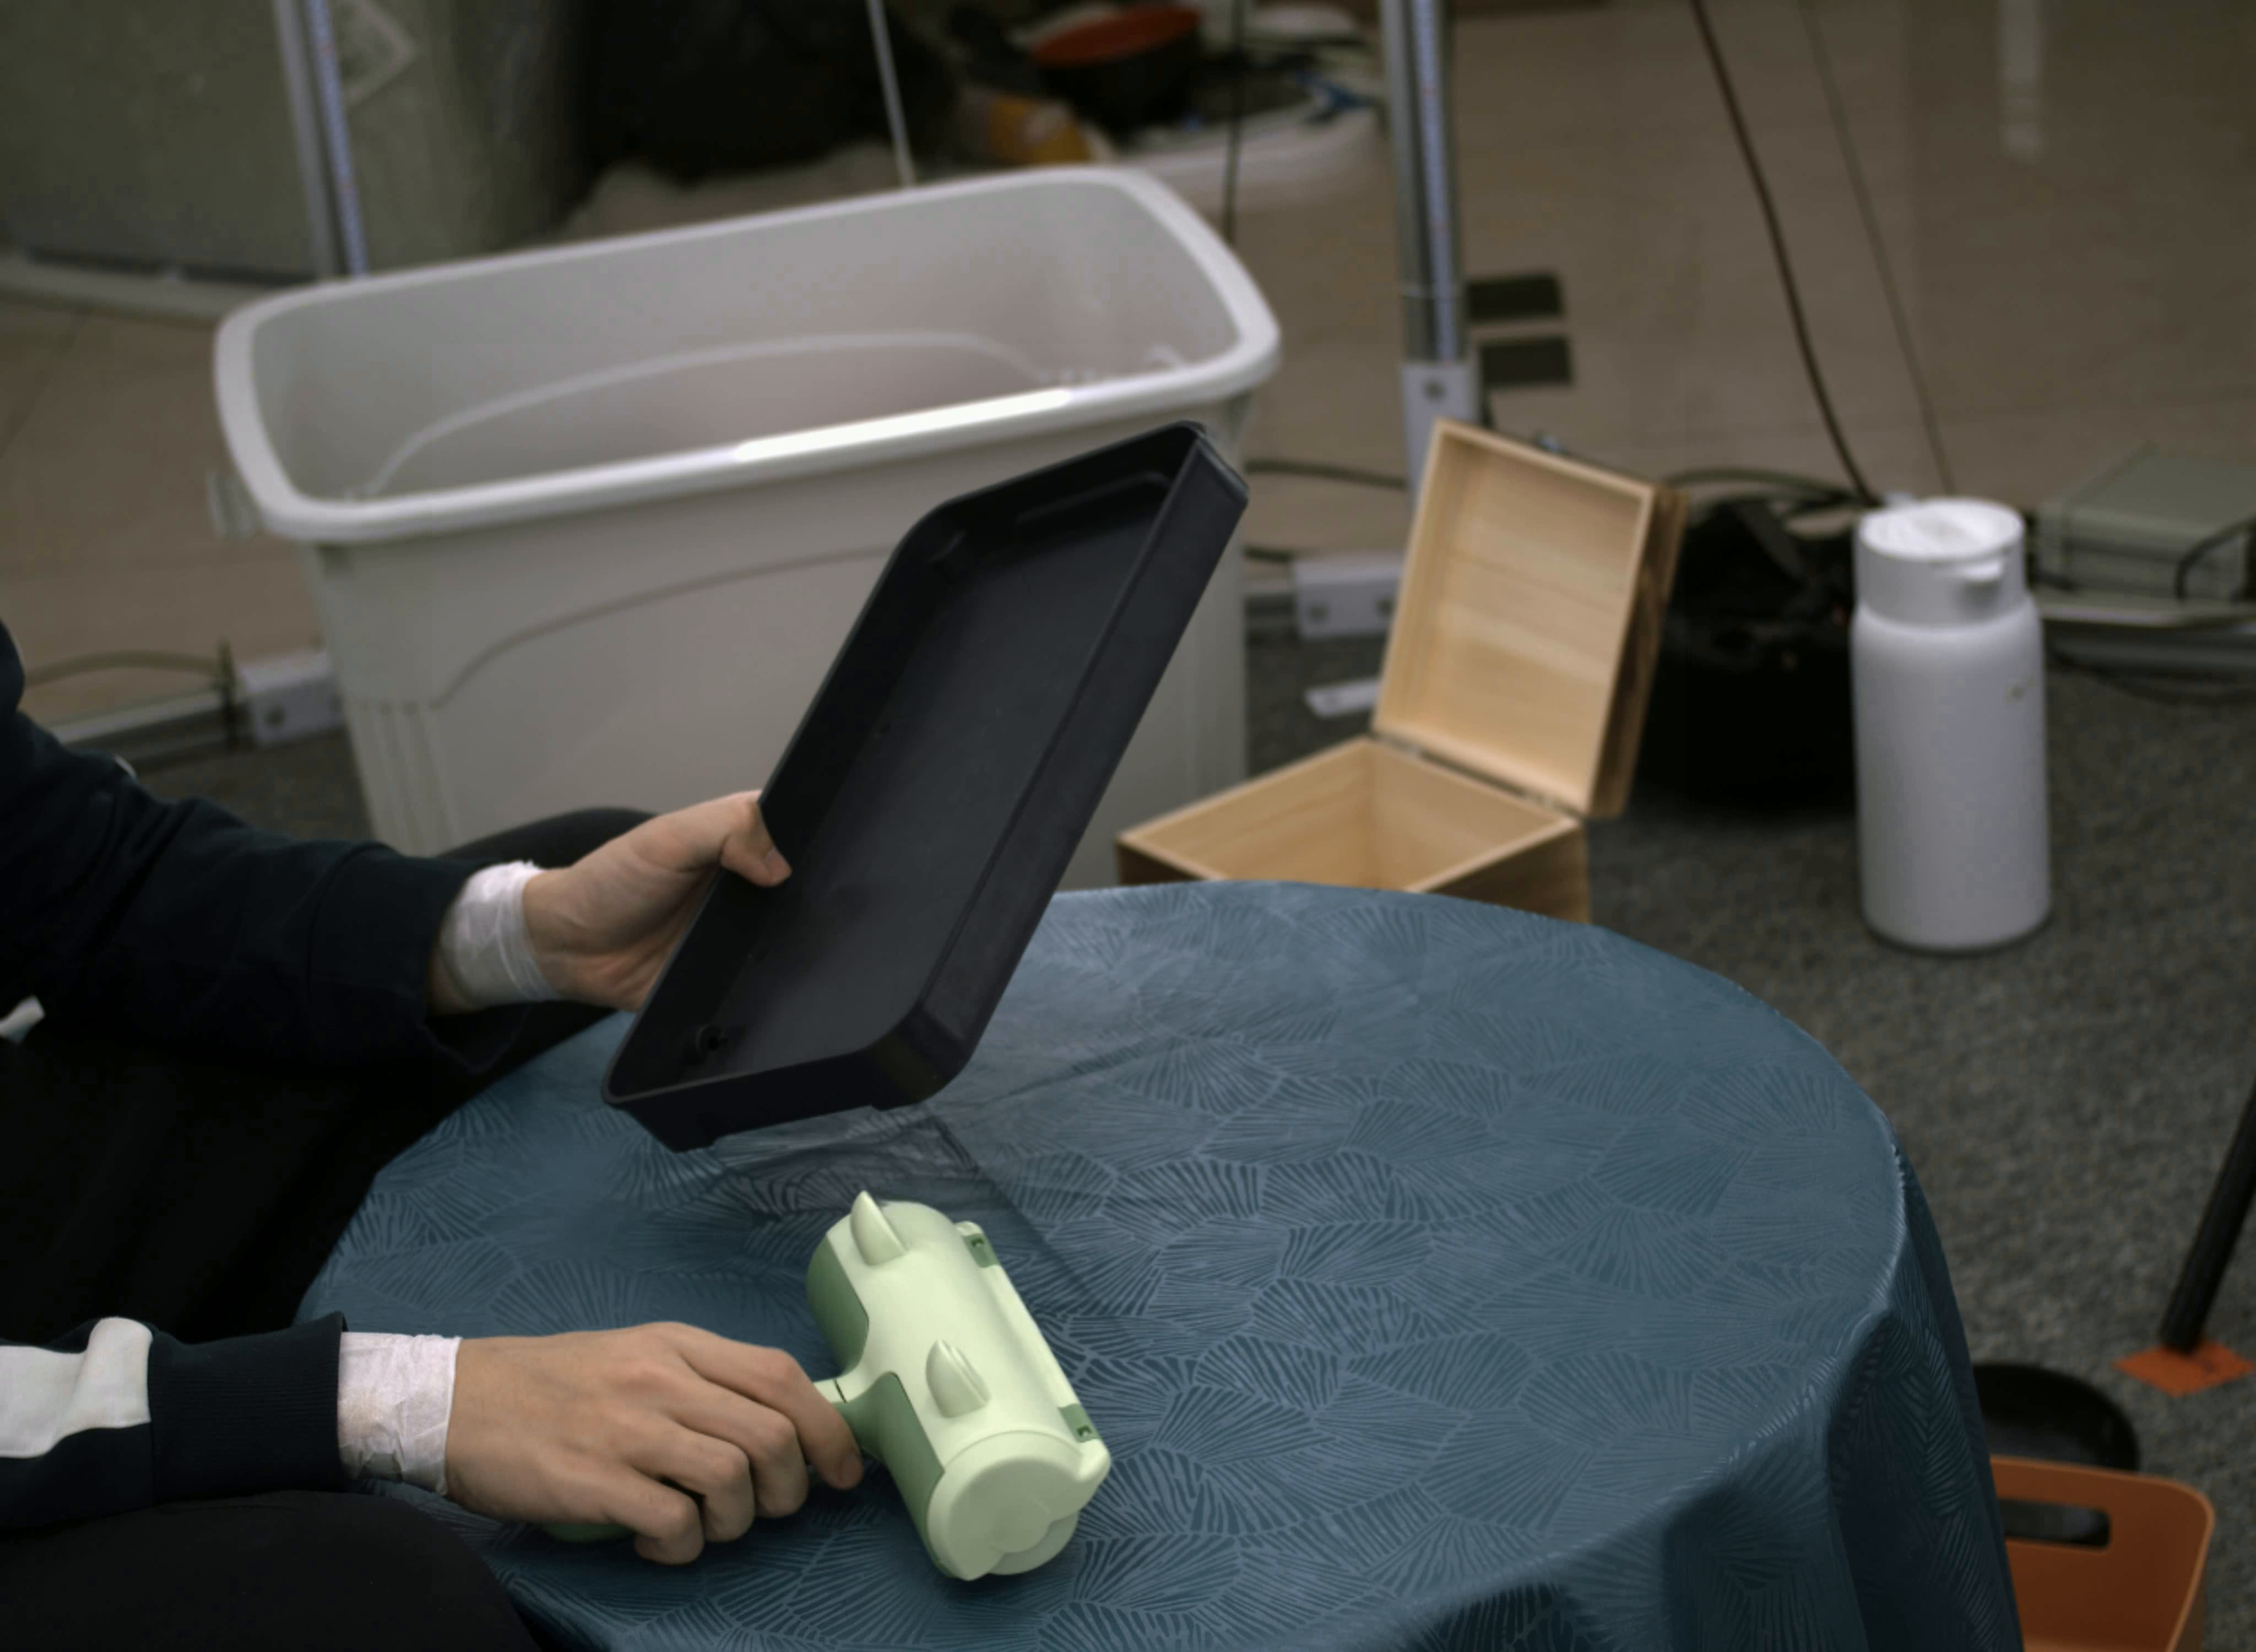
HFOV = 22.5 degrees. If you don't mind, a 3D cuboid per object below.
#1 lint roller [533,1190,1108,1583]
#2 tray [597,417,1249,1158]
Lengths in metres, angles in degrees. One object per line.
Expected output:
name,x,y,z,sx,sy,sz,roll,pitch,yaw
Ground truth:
lint roller,-0.118,0.195,1.957,0.183,0.083,0.196,-9,25,-13
tray,-0.076,-0.015,2.162,0.185,0.037,0.313,-14,41,47
